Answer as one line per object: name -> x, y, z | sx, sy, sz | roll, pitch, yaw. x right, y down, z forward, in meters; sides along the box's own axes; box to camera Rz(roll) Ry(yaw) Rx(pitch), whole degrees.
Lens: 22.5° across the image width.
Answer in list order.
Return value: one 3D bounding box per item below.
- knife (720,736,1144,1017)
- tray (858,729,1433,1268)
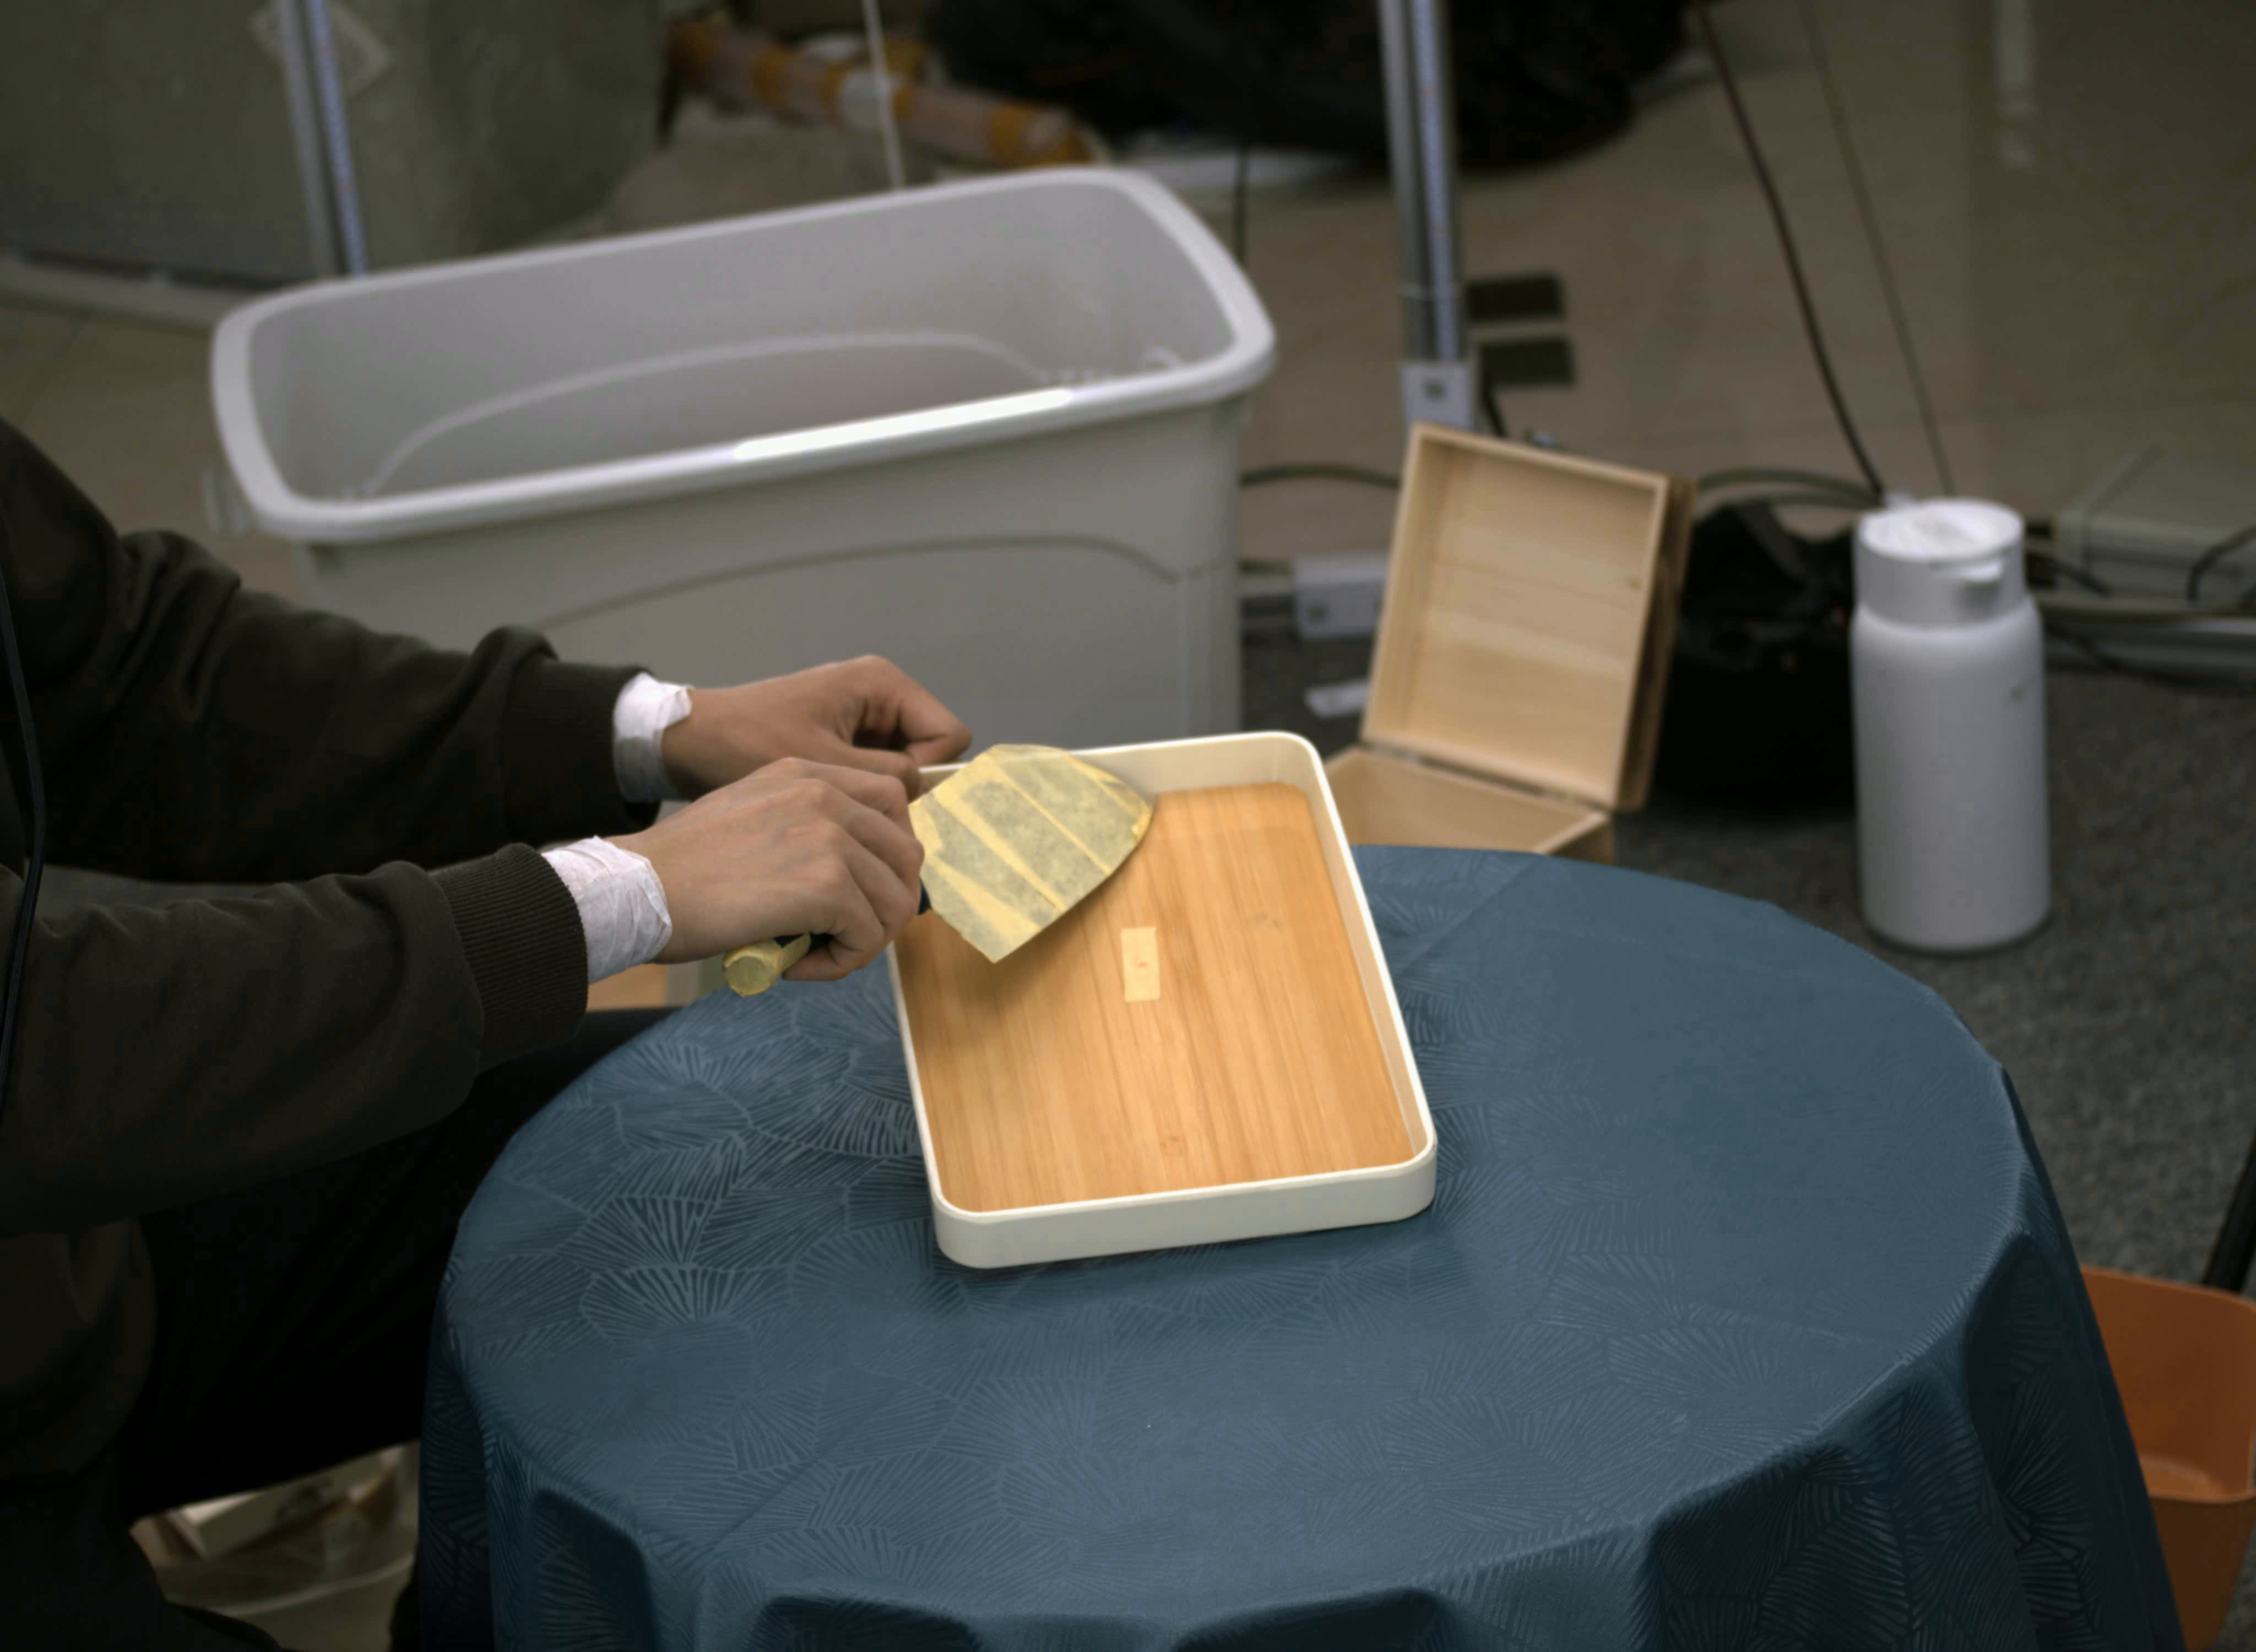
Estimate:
knife -> -0.071, 0.022, 2.208 | 0.080, 0.027, 0.286 | 42, 34, 10
tray -> 0.002, 0.062, 2.212 | 0.191, 0.028, 0.295 | -7, 35, -5
